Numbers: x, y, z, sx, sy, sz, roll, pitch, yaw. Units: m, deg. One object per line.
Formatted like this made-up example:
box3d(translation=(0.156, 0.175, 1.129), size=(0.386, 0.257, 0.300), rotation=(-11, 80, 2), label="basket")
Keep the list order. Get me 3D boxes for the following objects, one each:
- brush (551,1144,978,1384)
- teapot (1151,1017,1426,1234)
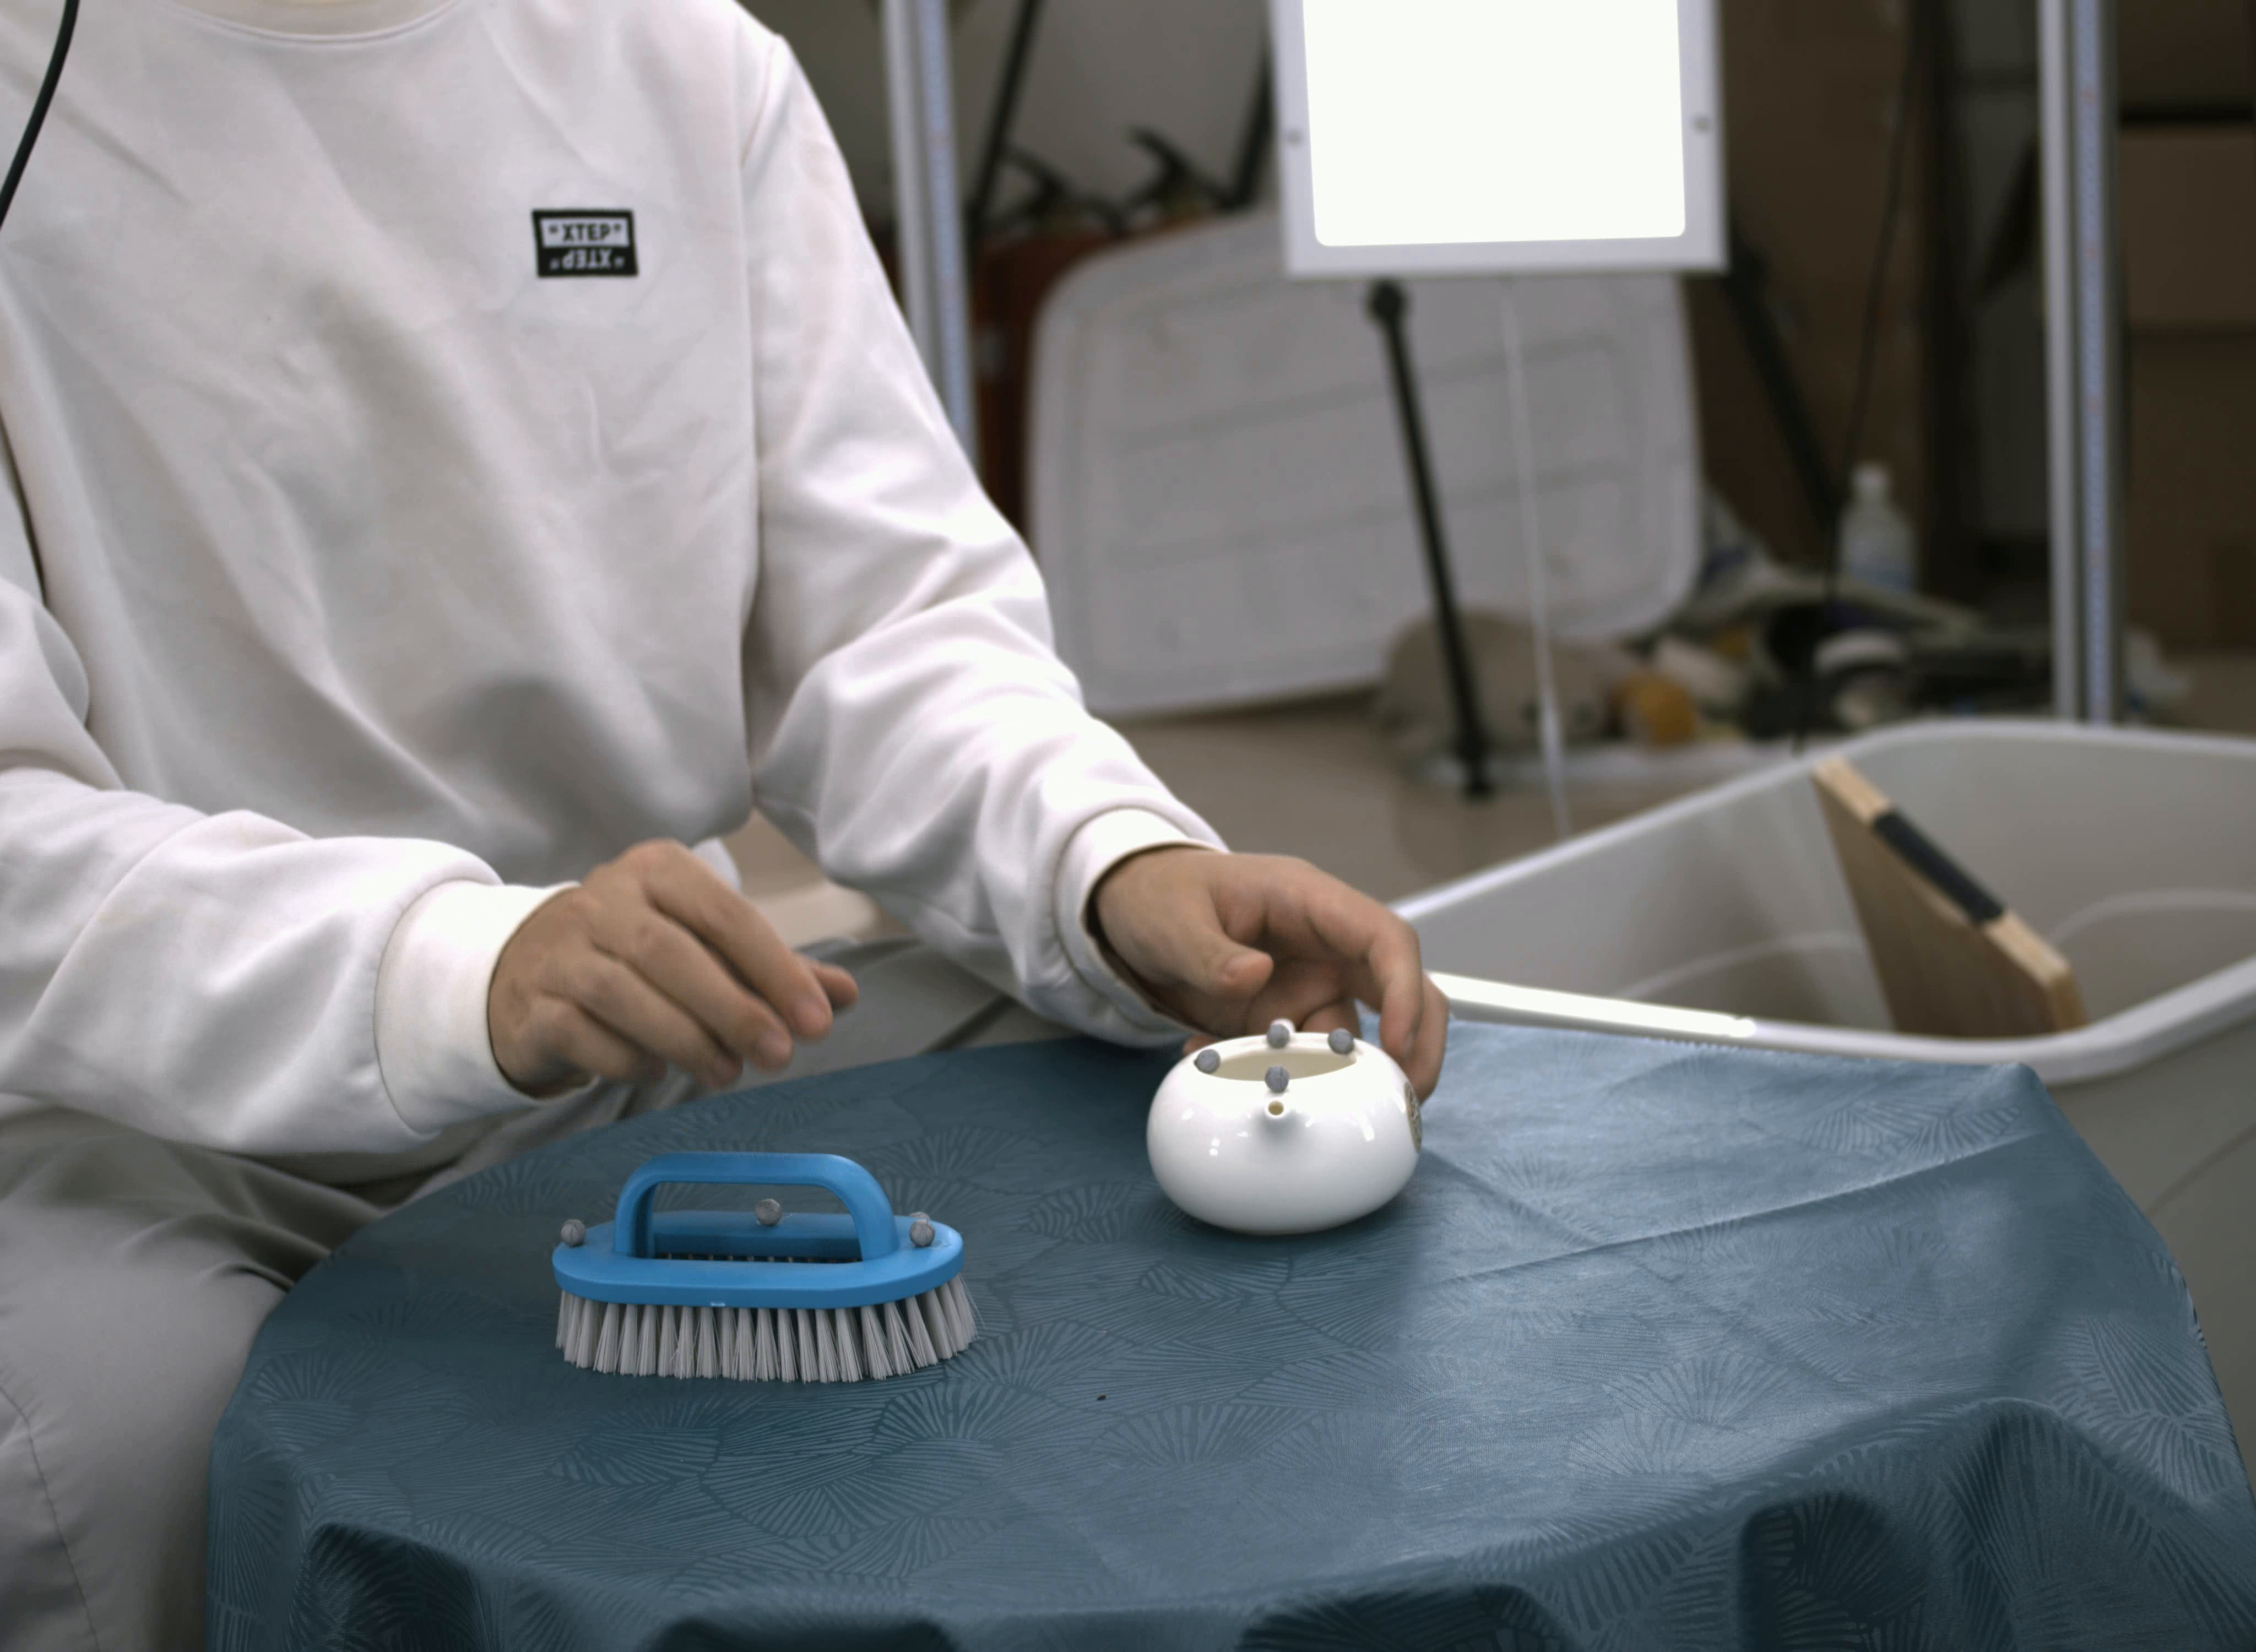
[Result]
box3d(translation=(-0.120, 0.134, 1.771), size=(0.144, 0.064, 0.083), rotation=(0, 18, 21), label="brush")
box3d(translation=(0.054, 0.101, 1.870), size=(0.093, 0.057, 0.127), rotation=(-8, 12, 1), label="teapot")
